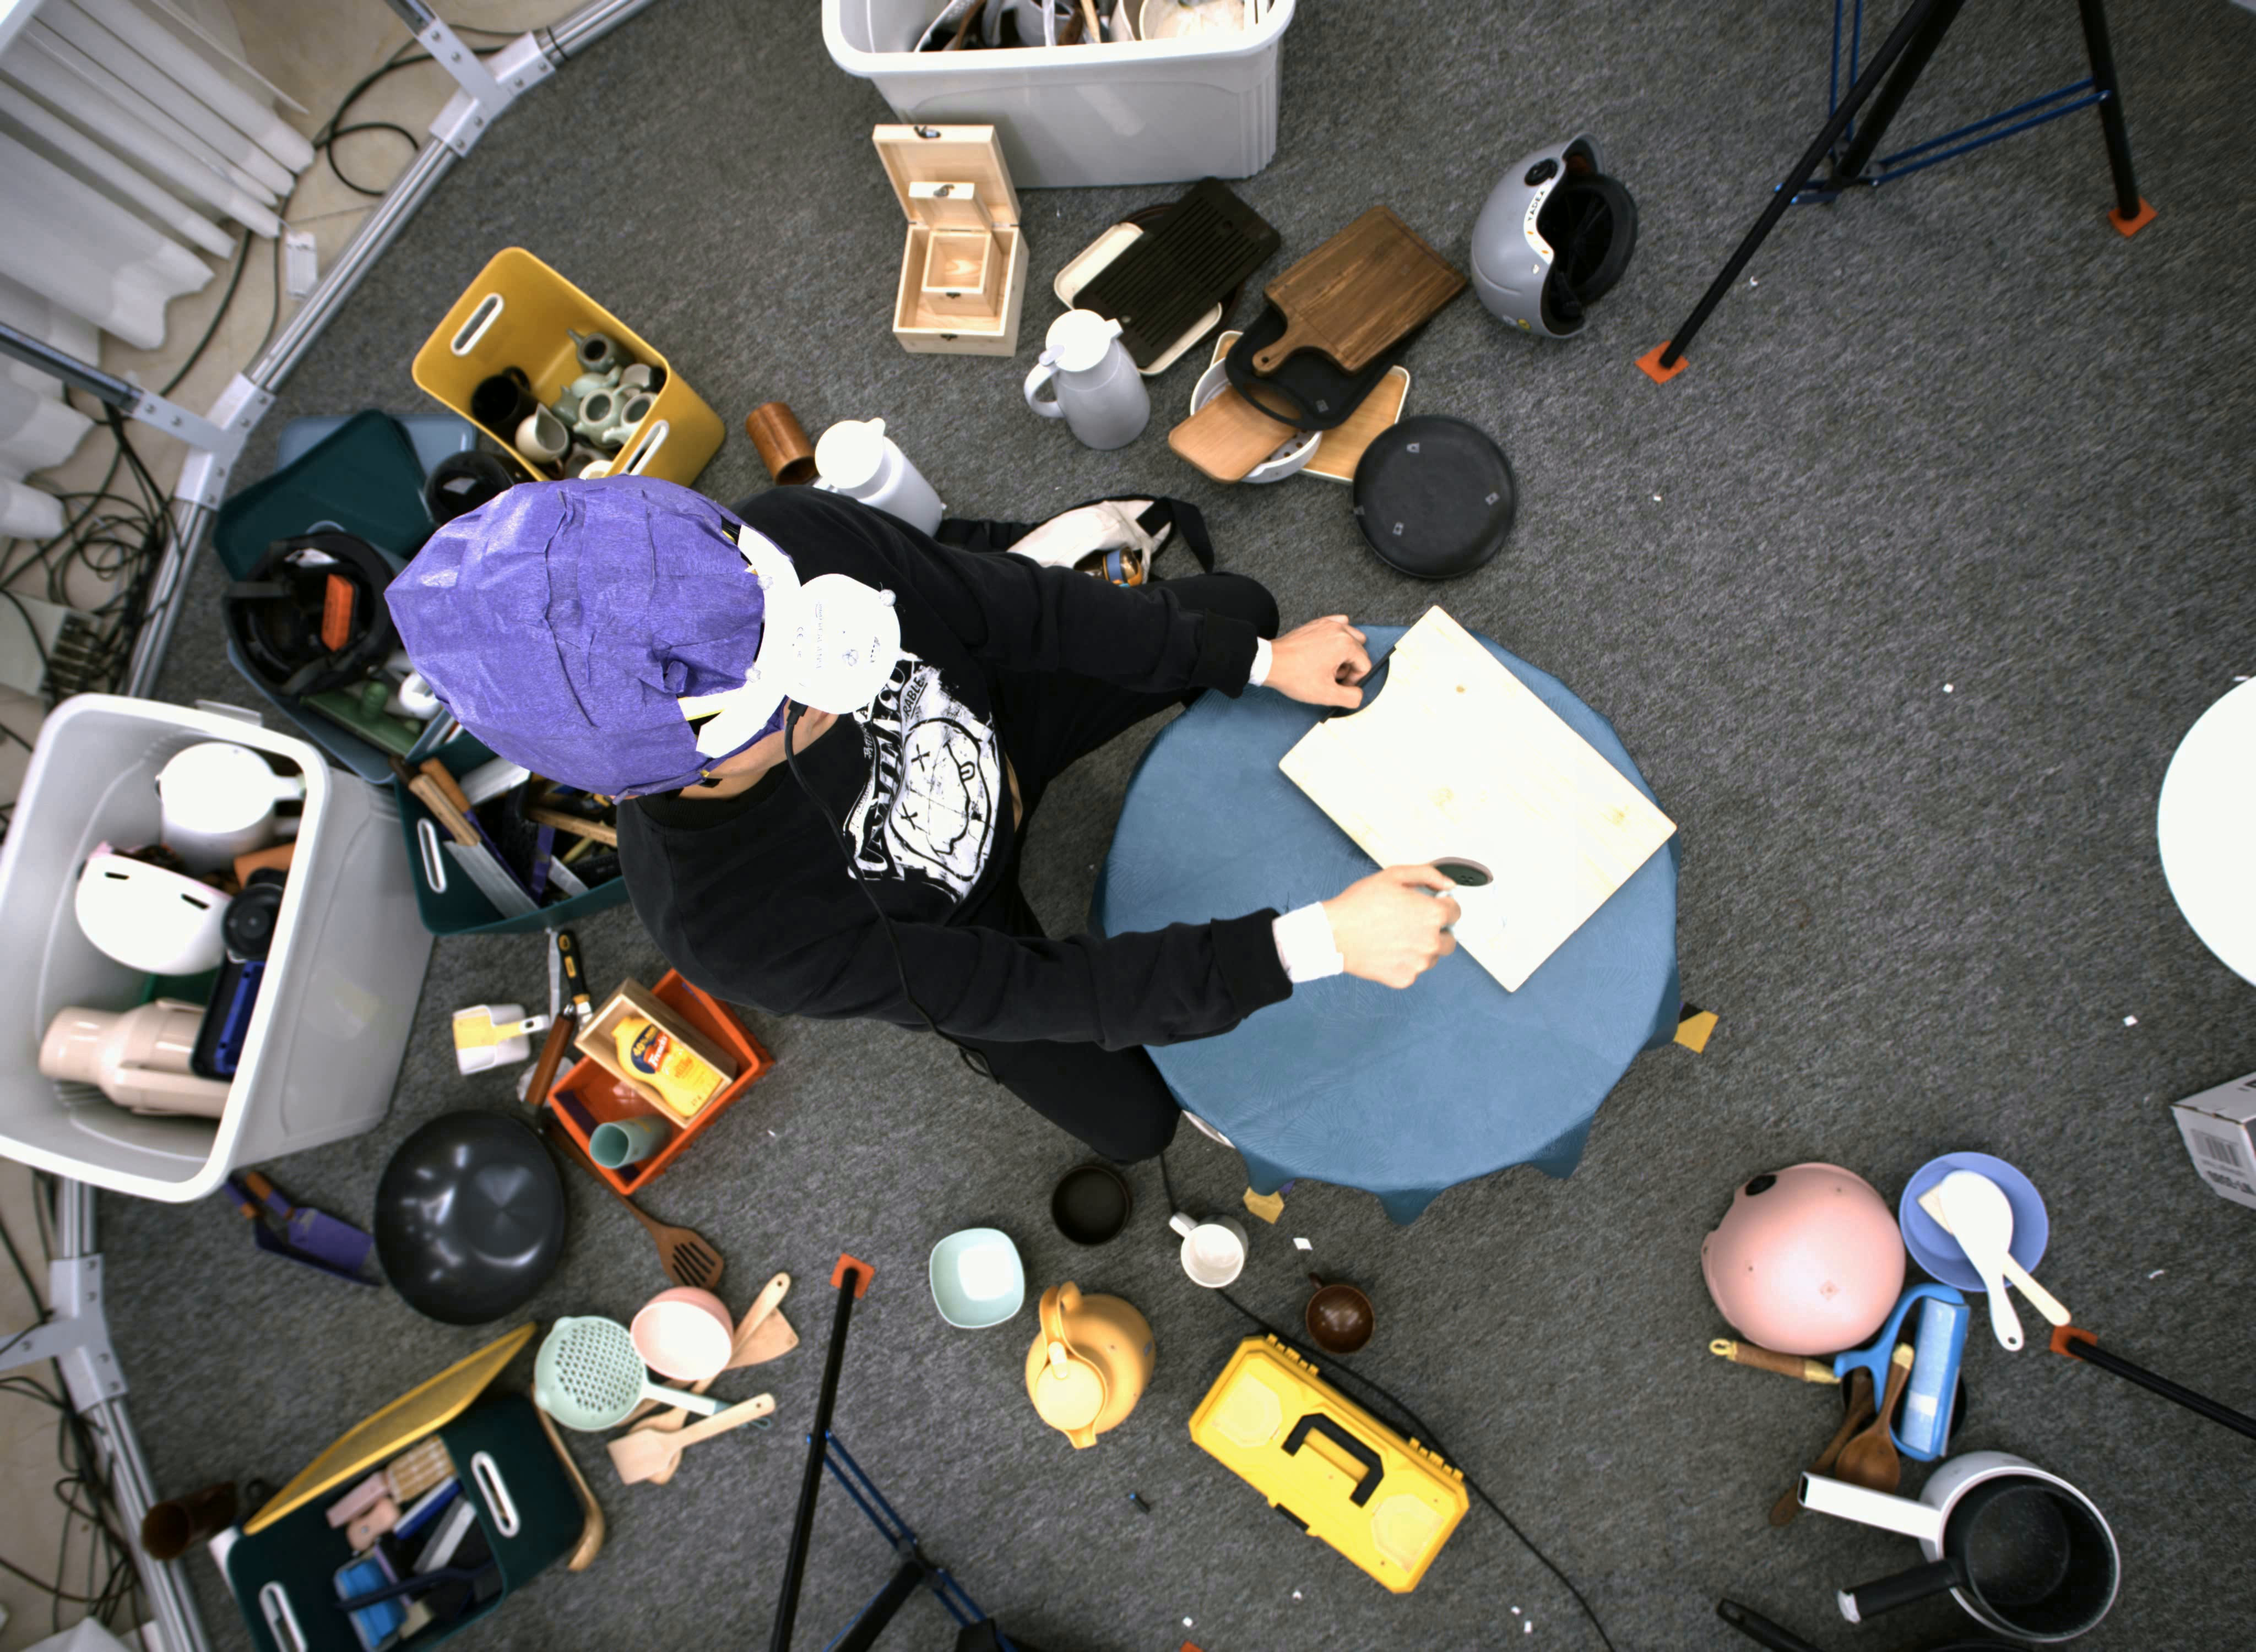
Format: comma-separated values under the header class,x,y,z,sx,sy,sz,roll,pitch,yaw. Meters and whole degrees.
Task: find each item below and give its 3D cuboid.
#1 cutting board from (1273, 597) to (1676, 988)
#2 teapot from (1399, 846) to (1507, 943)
class,x,y,z,sx,sy,sz,roll,pitch,yaw
cutting board,0.358,-0.037,1.437,0.347,0.023,0.252,44,95,8
teapot,0.294,0.065,1.243,0.096,0.134,0.062,17,117,23
